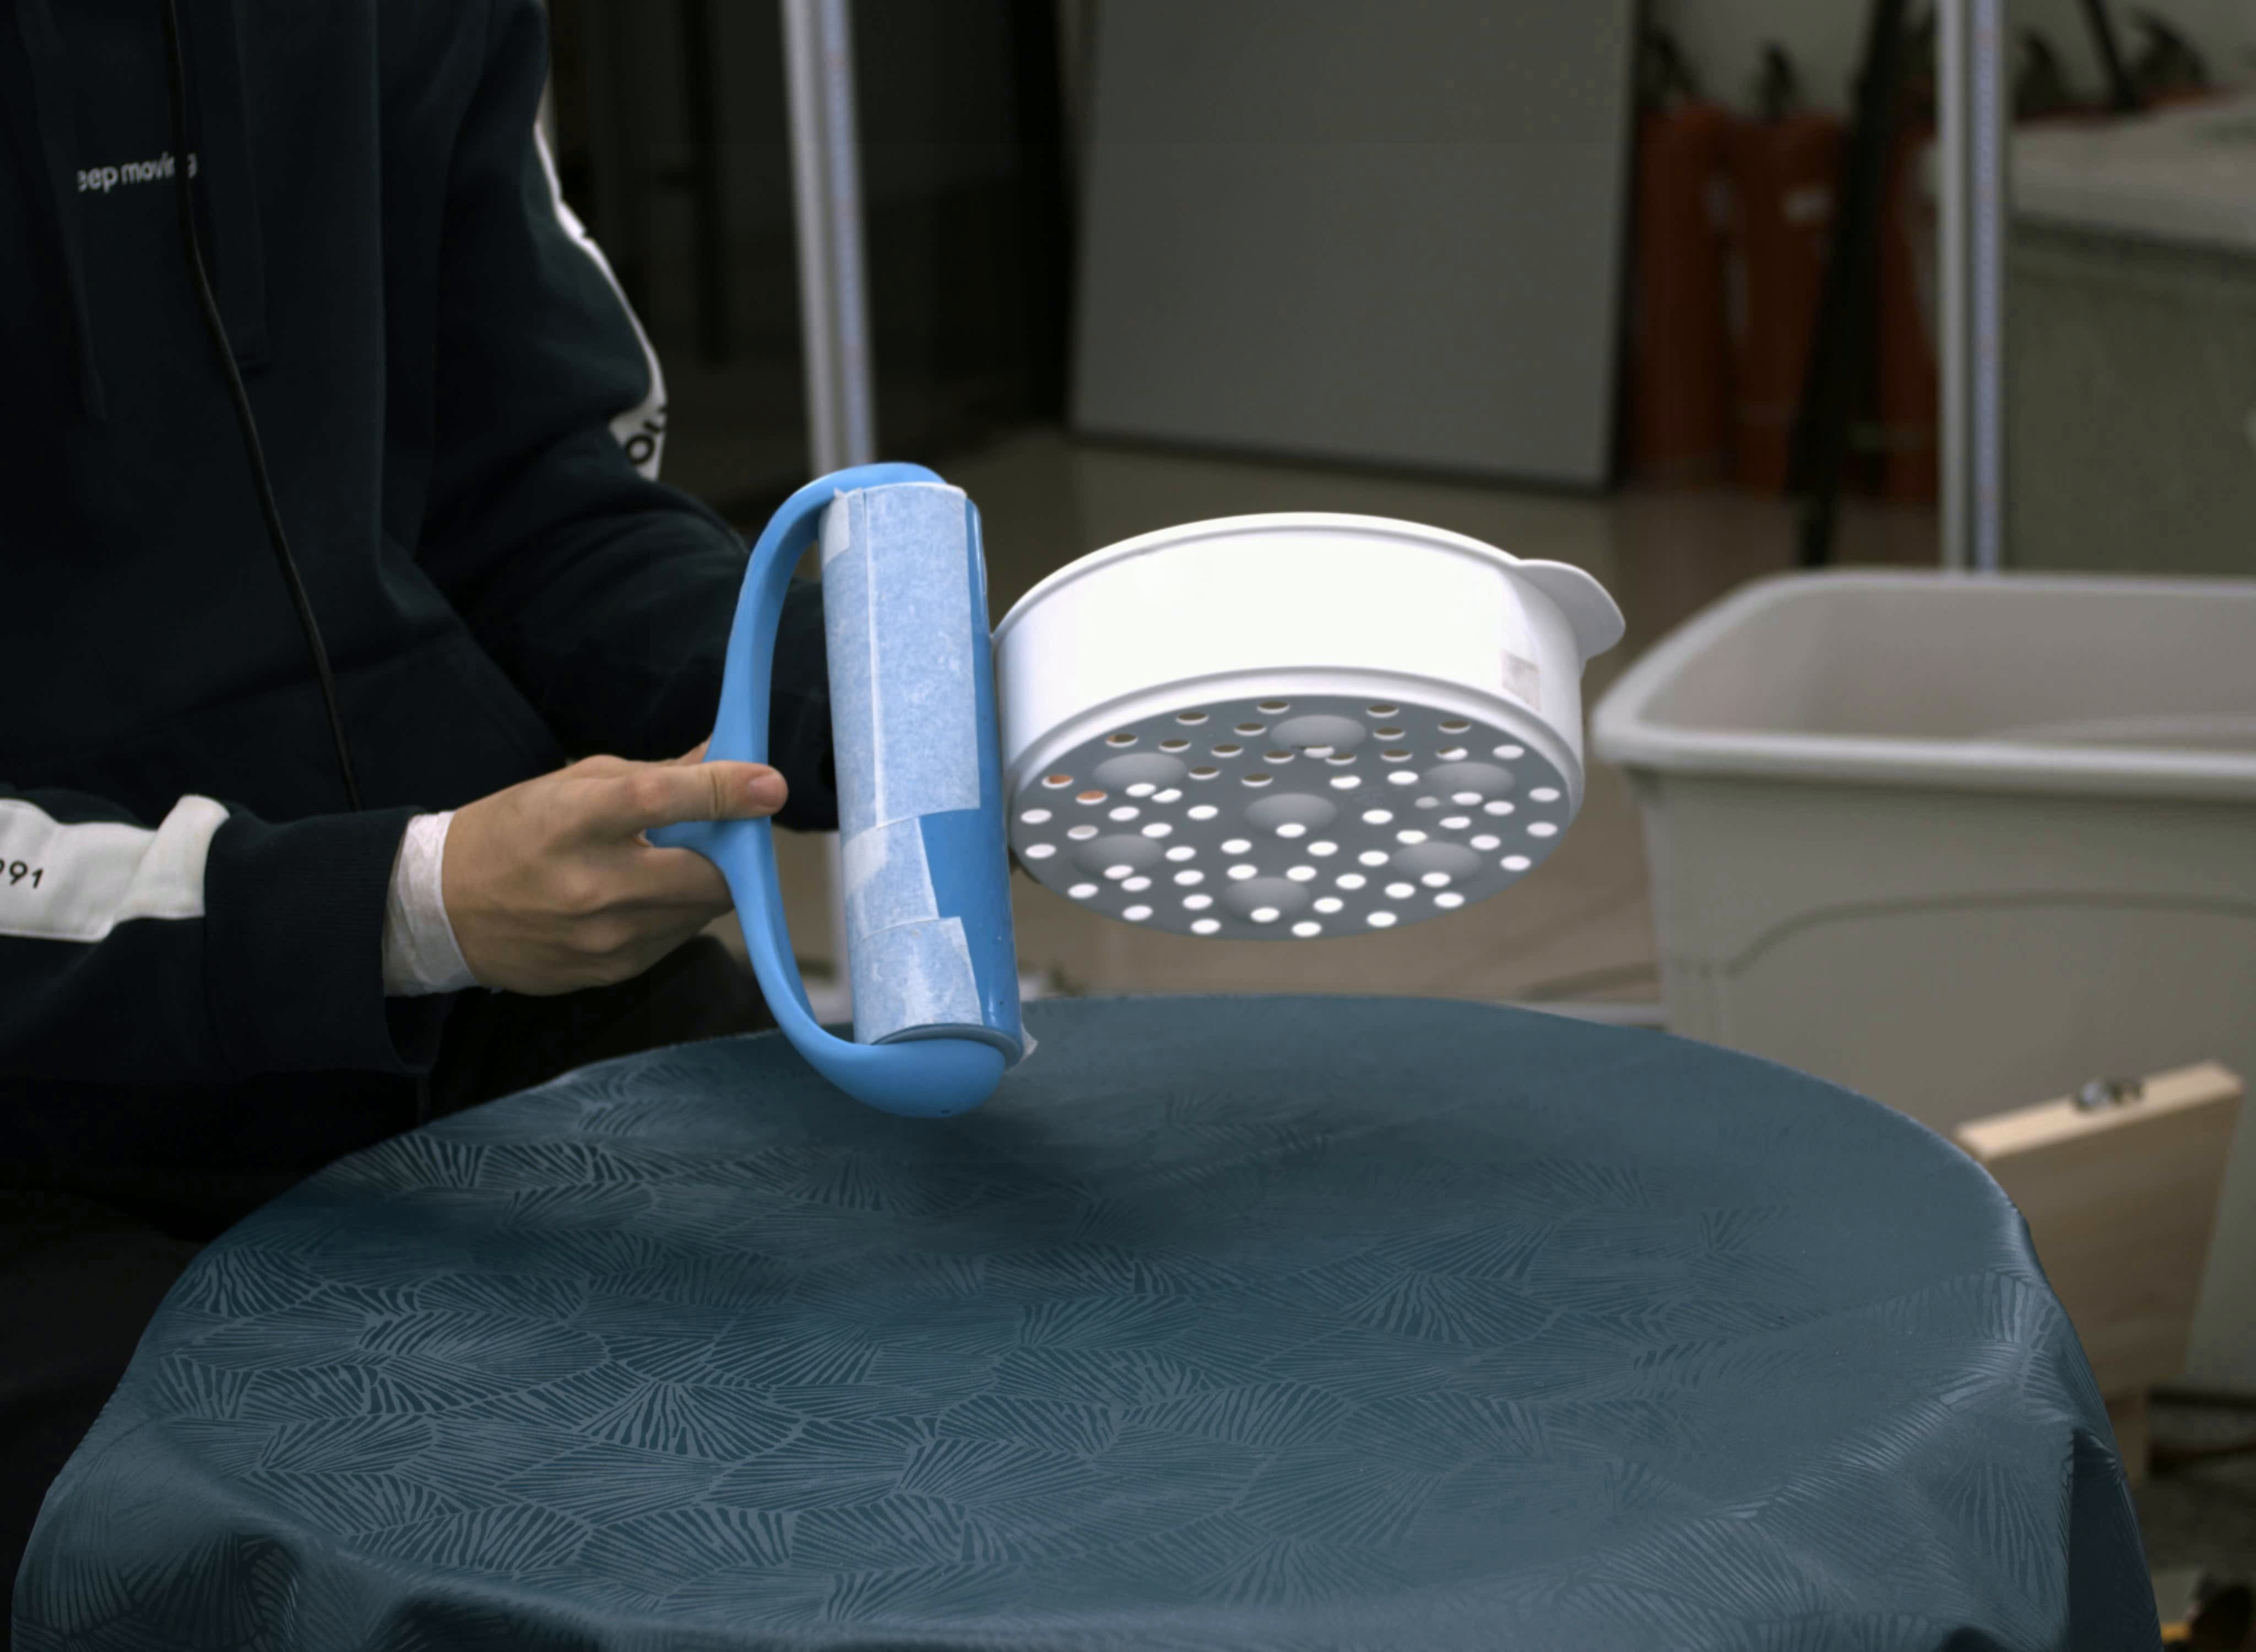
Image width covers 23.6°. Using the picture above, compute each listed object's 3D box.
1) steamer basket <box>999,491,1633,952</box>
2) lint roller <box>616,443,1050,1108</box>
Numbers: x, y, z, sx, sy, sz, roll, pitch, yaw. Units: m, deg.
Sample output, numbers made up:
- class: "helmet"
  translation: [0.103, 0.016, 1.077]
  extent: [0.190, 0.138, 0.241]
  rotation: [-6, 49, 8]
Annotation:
- class: "steamer basket"
  translation: [0.055, -0.028, 1.760]
  extent: [0.230, 0.070, 0.199]
  rotation: [-14, -31, 21]
- class: "lint roller"
  translation: [-0.111, 0.003, 1.755]
  extent: [0.181, 0.232, 0.067]
  rotation: [-24, -28, 28]
